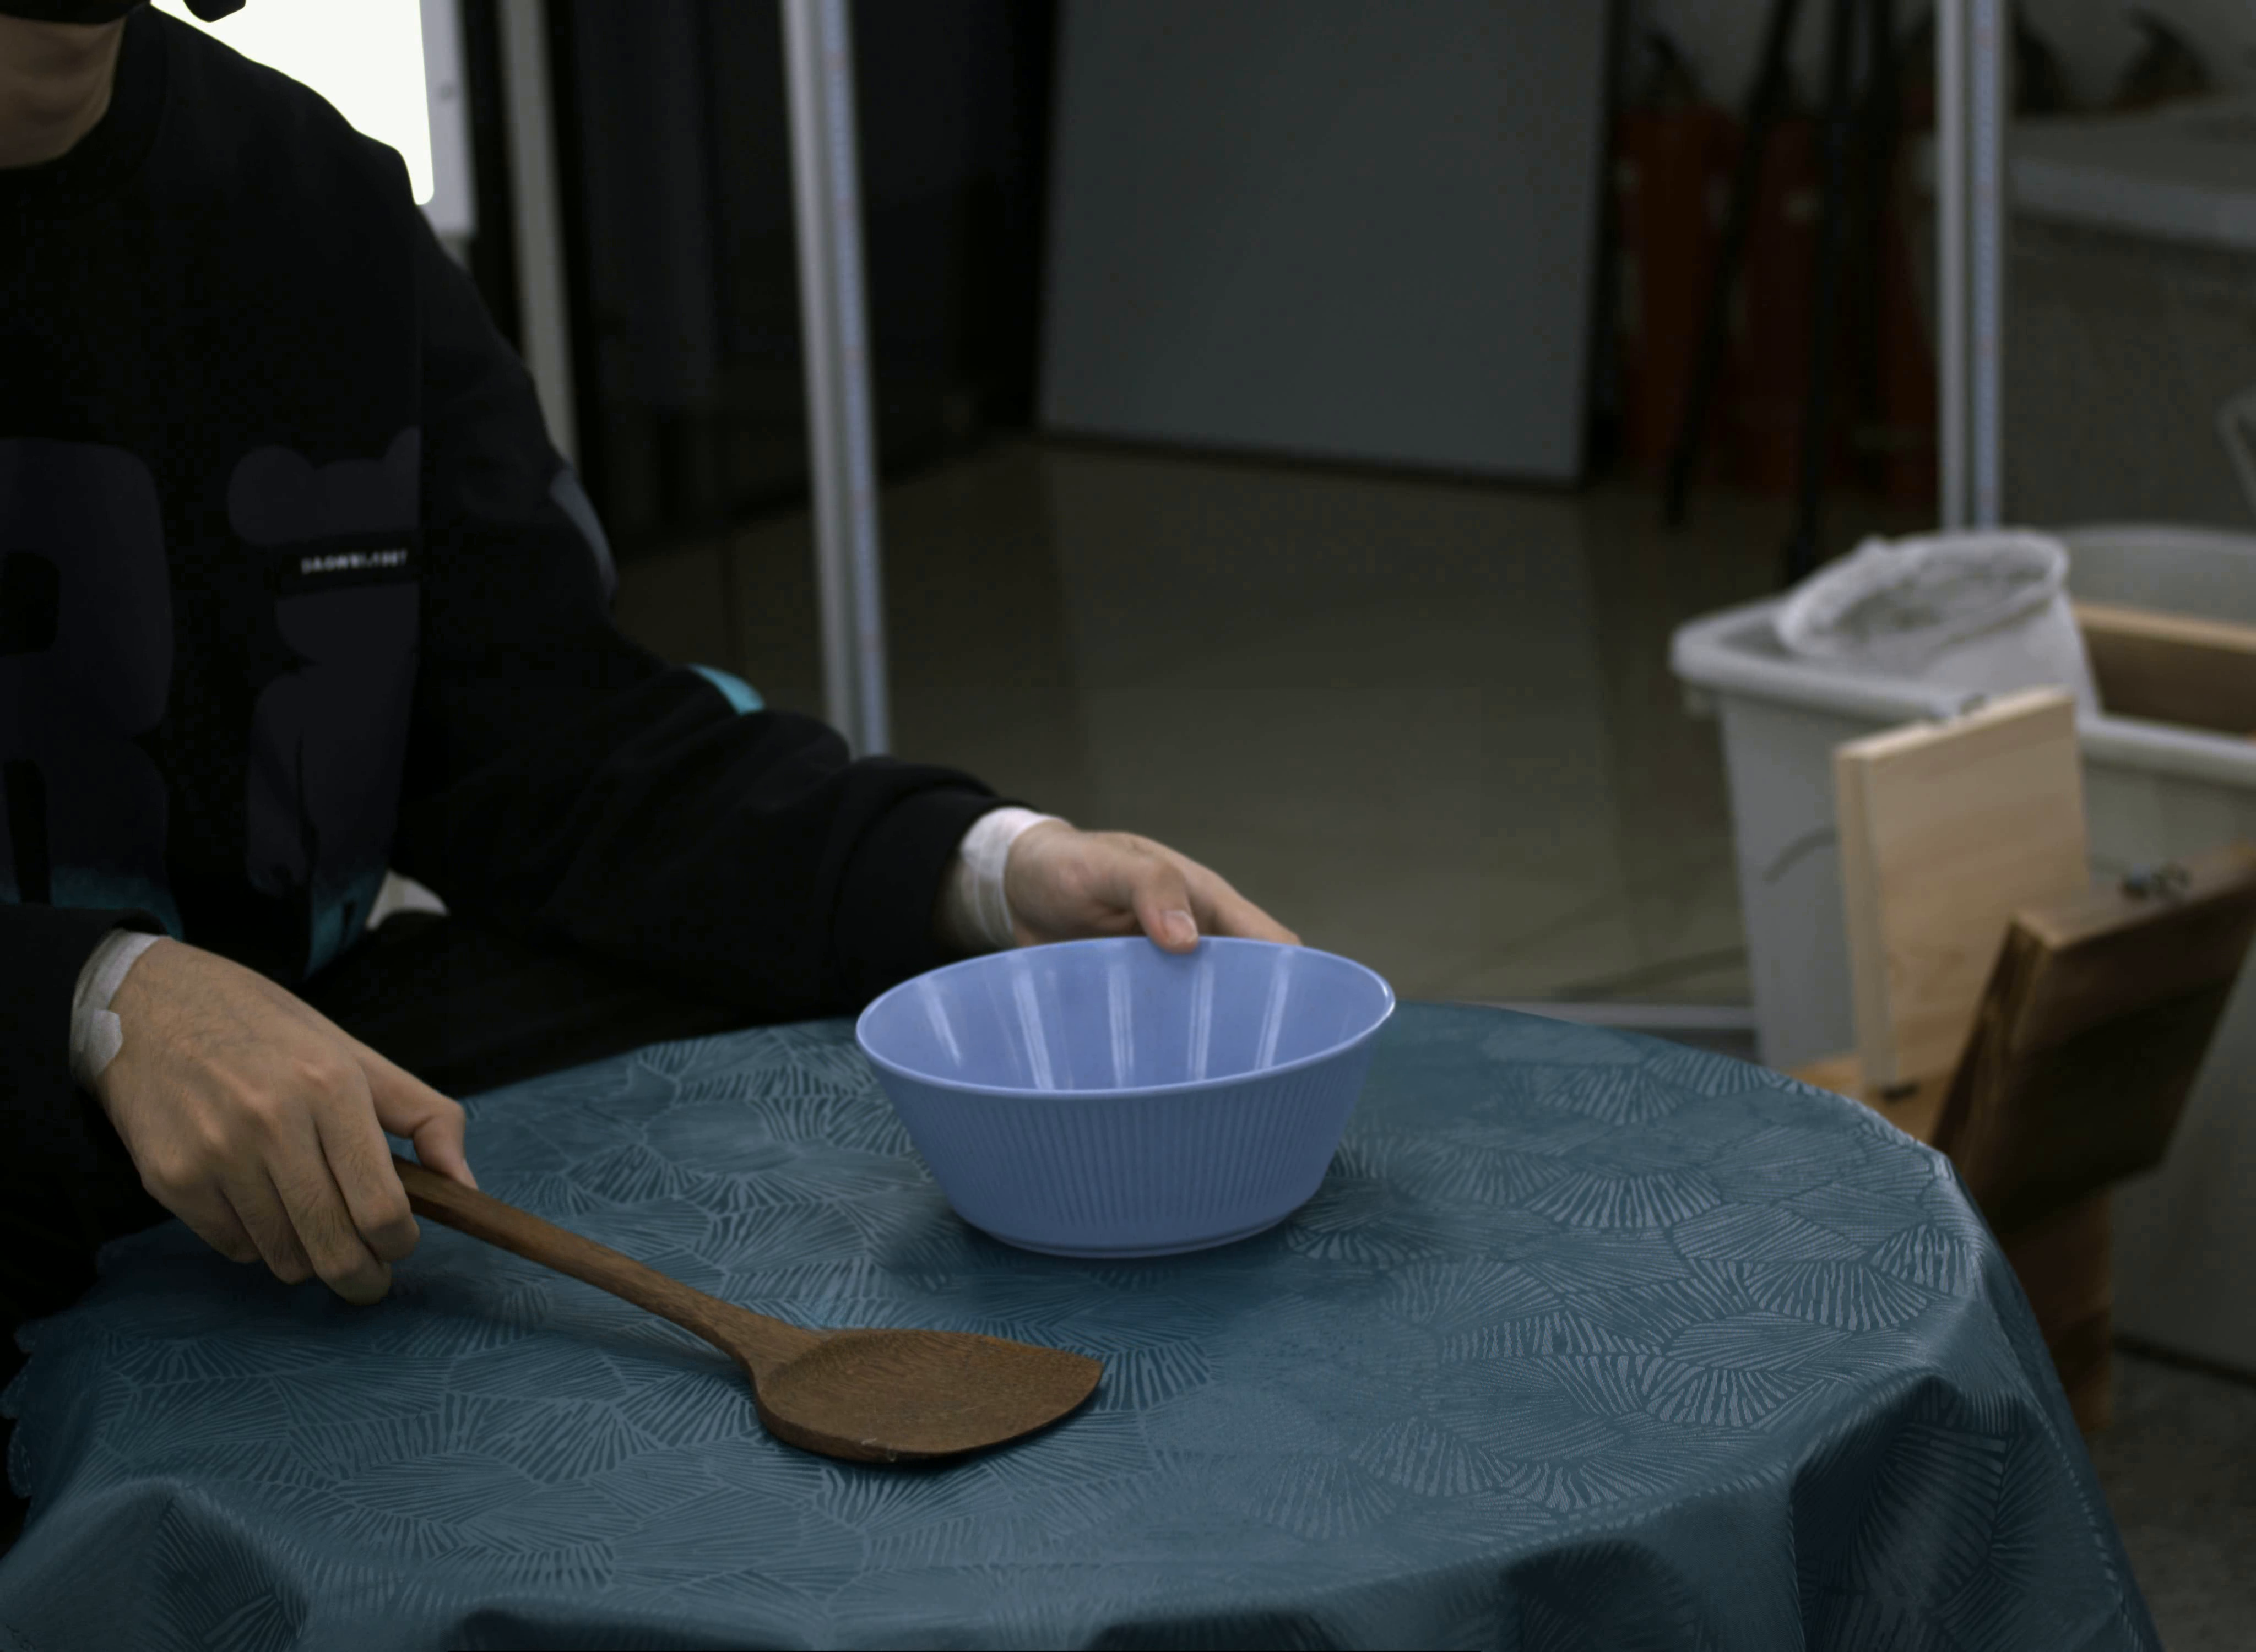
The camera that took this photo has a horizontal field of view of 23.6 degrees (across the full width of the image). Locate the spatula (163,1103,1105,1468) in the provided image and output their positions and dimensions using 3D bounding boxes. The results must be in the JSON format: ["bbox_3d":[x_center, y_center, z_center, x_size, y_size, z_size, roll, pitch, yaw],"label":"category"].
[{"bbox_3d":[-0.170,0.136,1.673,0.389,0.016,0.094,16,23,39],"label":"spatula"}]

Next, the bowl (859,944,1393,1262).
[{"bbox_3d":[0.002,0.092,1.745,0.174,0.071,0.176,-5,13,0],"label":"bowl"}]
